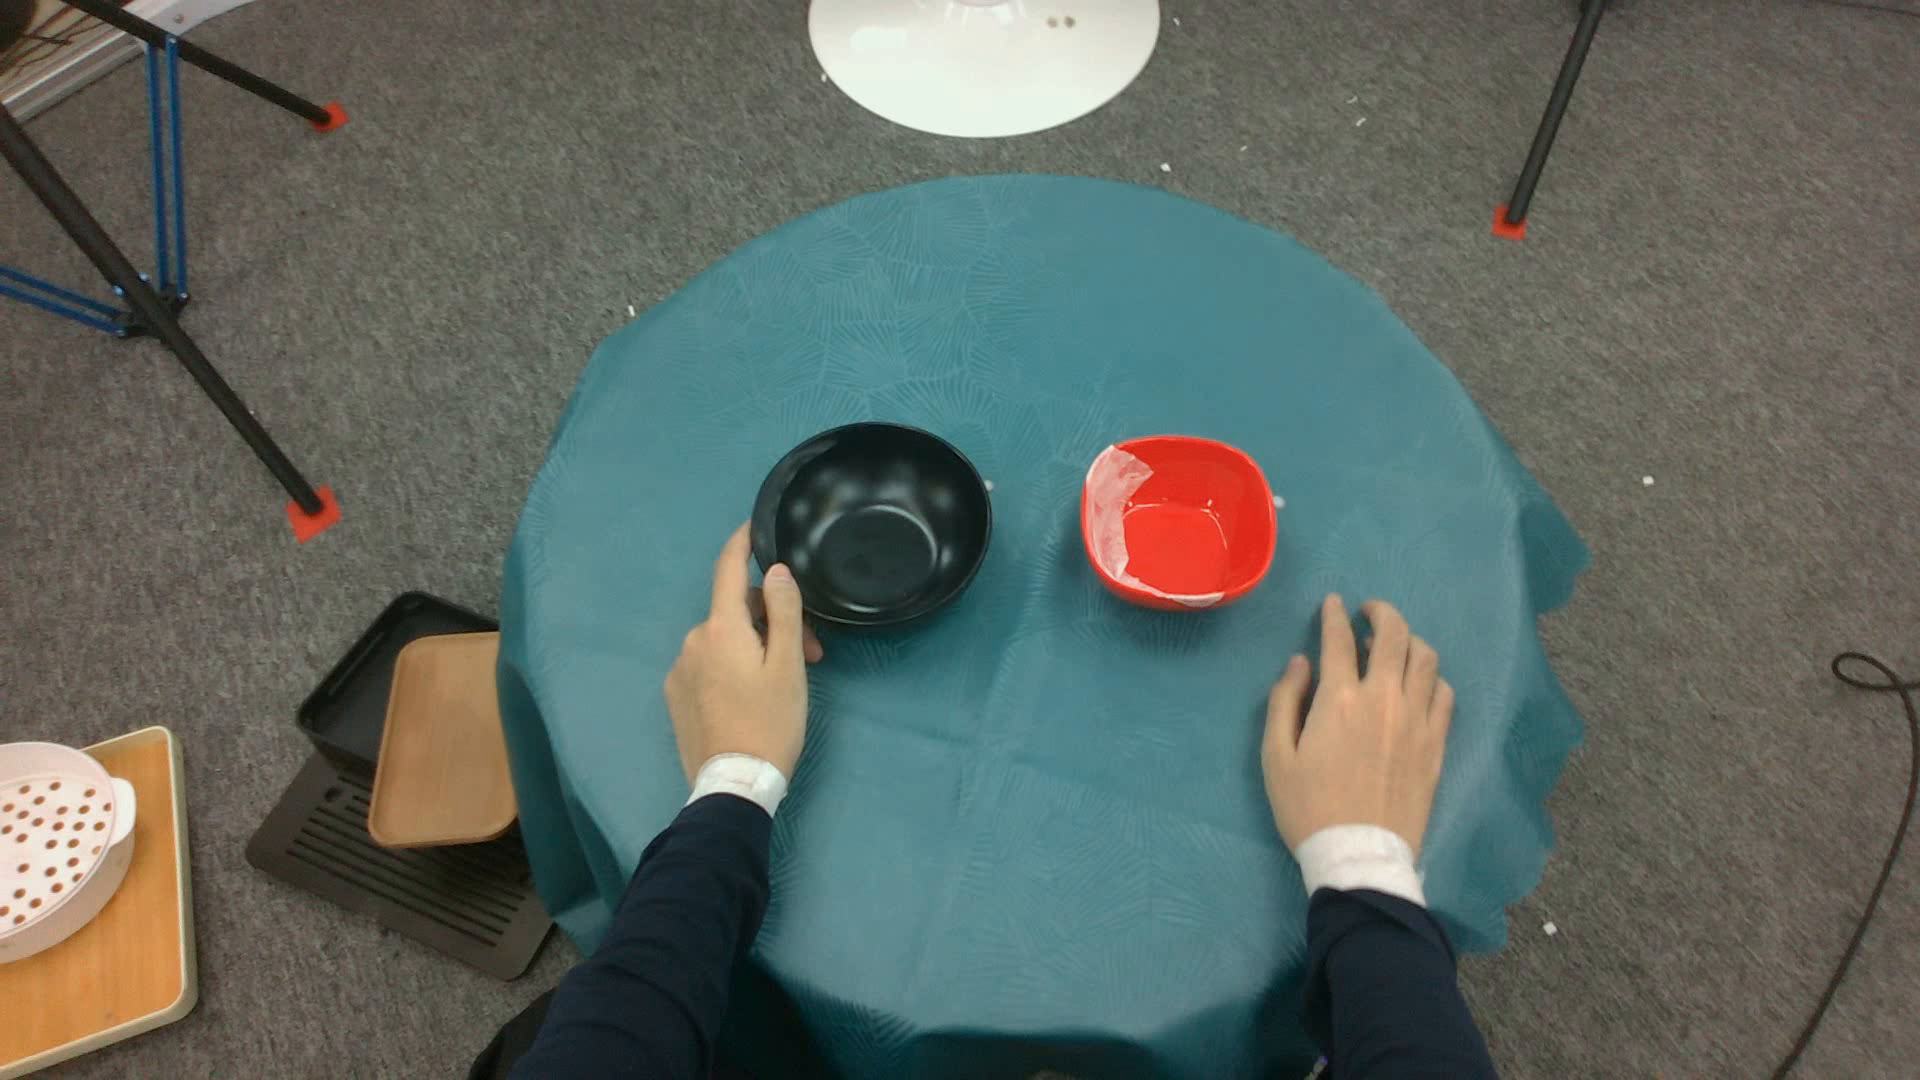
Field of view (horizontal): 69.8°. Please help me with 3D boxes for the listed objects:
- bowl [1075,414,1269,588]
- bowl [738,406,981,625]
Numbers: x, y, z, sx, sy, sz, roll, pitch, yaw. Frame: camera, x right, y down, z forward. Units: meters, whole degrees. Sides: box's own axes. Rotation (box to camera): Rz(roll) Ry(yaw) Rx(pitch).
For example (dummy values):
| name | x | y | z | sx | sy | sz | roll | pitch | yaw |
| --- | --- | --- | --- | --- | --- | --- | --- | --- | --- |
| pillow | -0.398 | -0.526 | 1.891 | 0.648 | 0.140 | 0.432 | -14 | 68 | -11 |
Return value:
| name | x | y | z | sx | sy | sz | roll | pitch | yaw |
| --- | --- | --- | --- | --- | --- | --- | --- | --- | --- |
| bowl | 0.117 | -0.014 | 0.793 | 0.119 | 0.051 | 0.119 | 3 | 55 | -5 |
| bowl | -0.057 | -0.008 | 0.802 | 0.140 | 0.049 | 0.140 | 0 | 62 | 1 |
